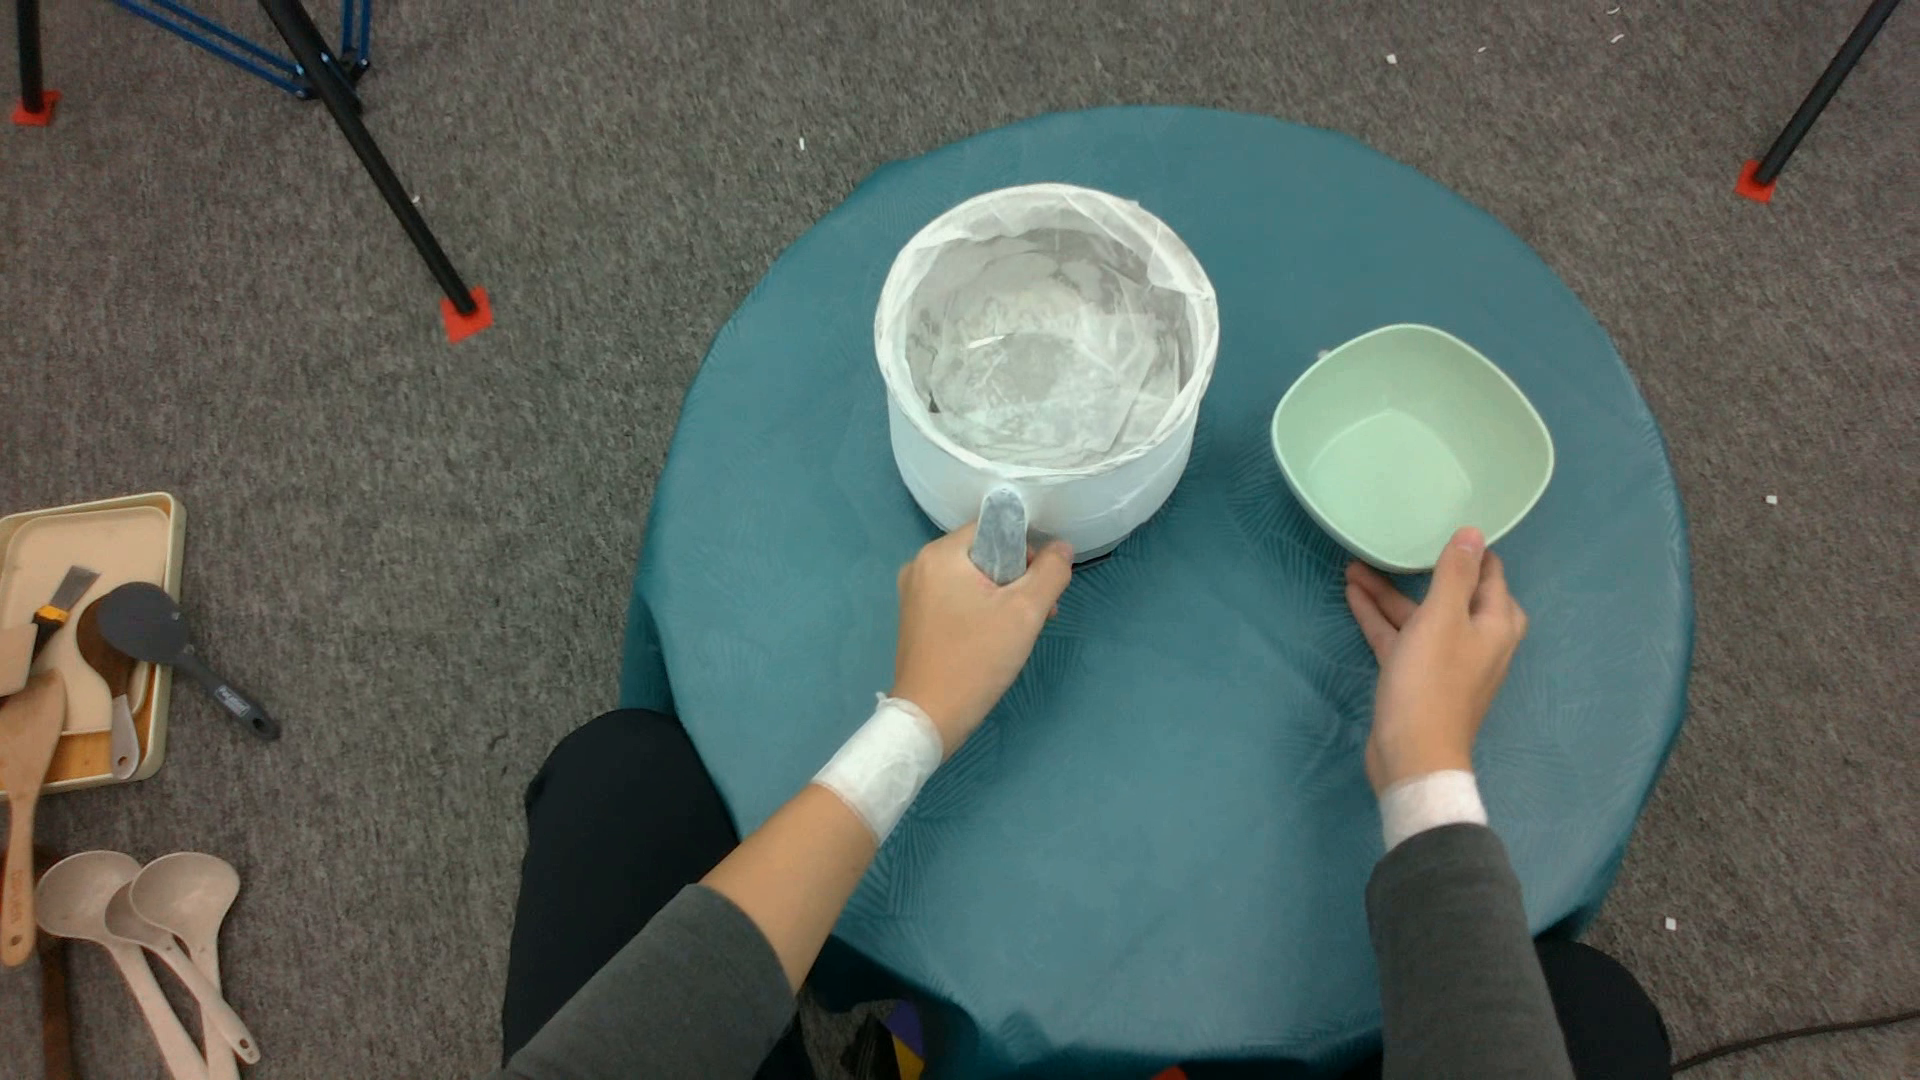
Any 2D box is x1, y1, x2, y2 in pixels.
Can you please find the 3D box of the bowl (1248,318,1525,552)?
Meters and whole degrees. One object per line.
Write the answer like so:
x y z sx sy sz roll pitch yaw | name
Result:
0.235 -0.051 0.782 0.151 0.058 0.152 0 60 -1 | bowl

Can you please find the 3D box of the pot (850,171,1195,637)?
0.028 -0.069 0.755 0.178 0.136 0.234 10 68 5 | pot
